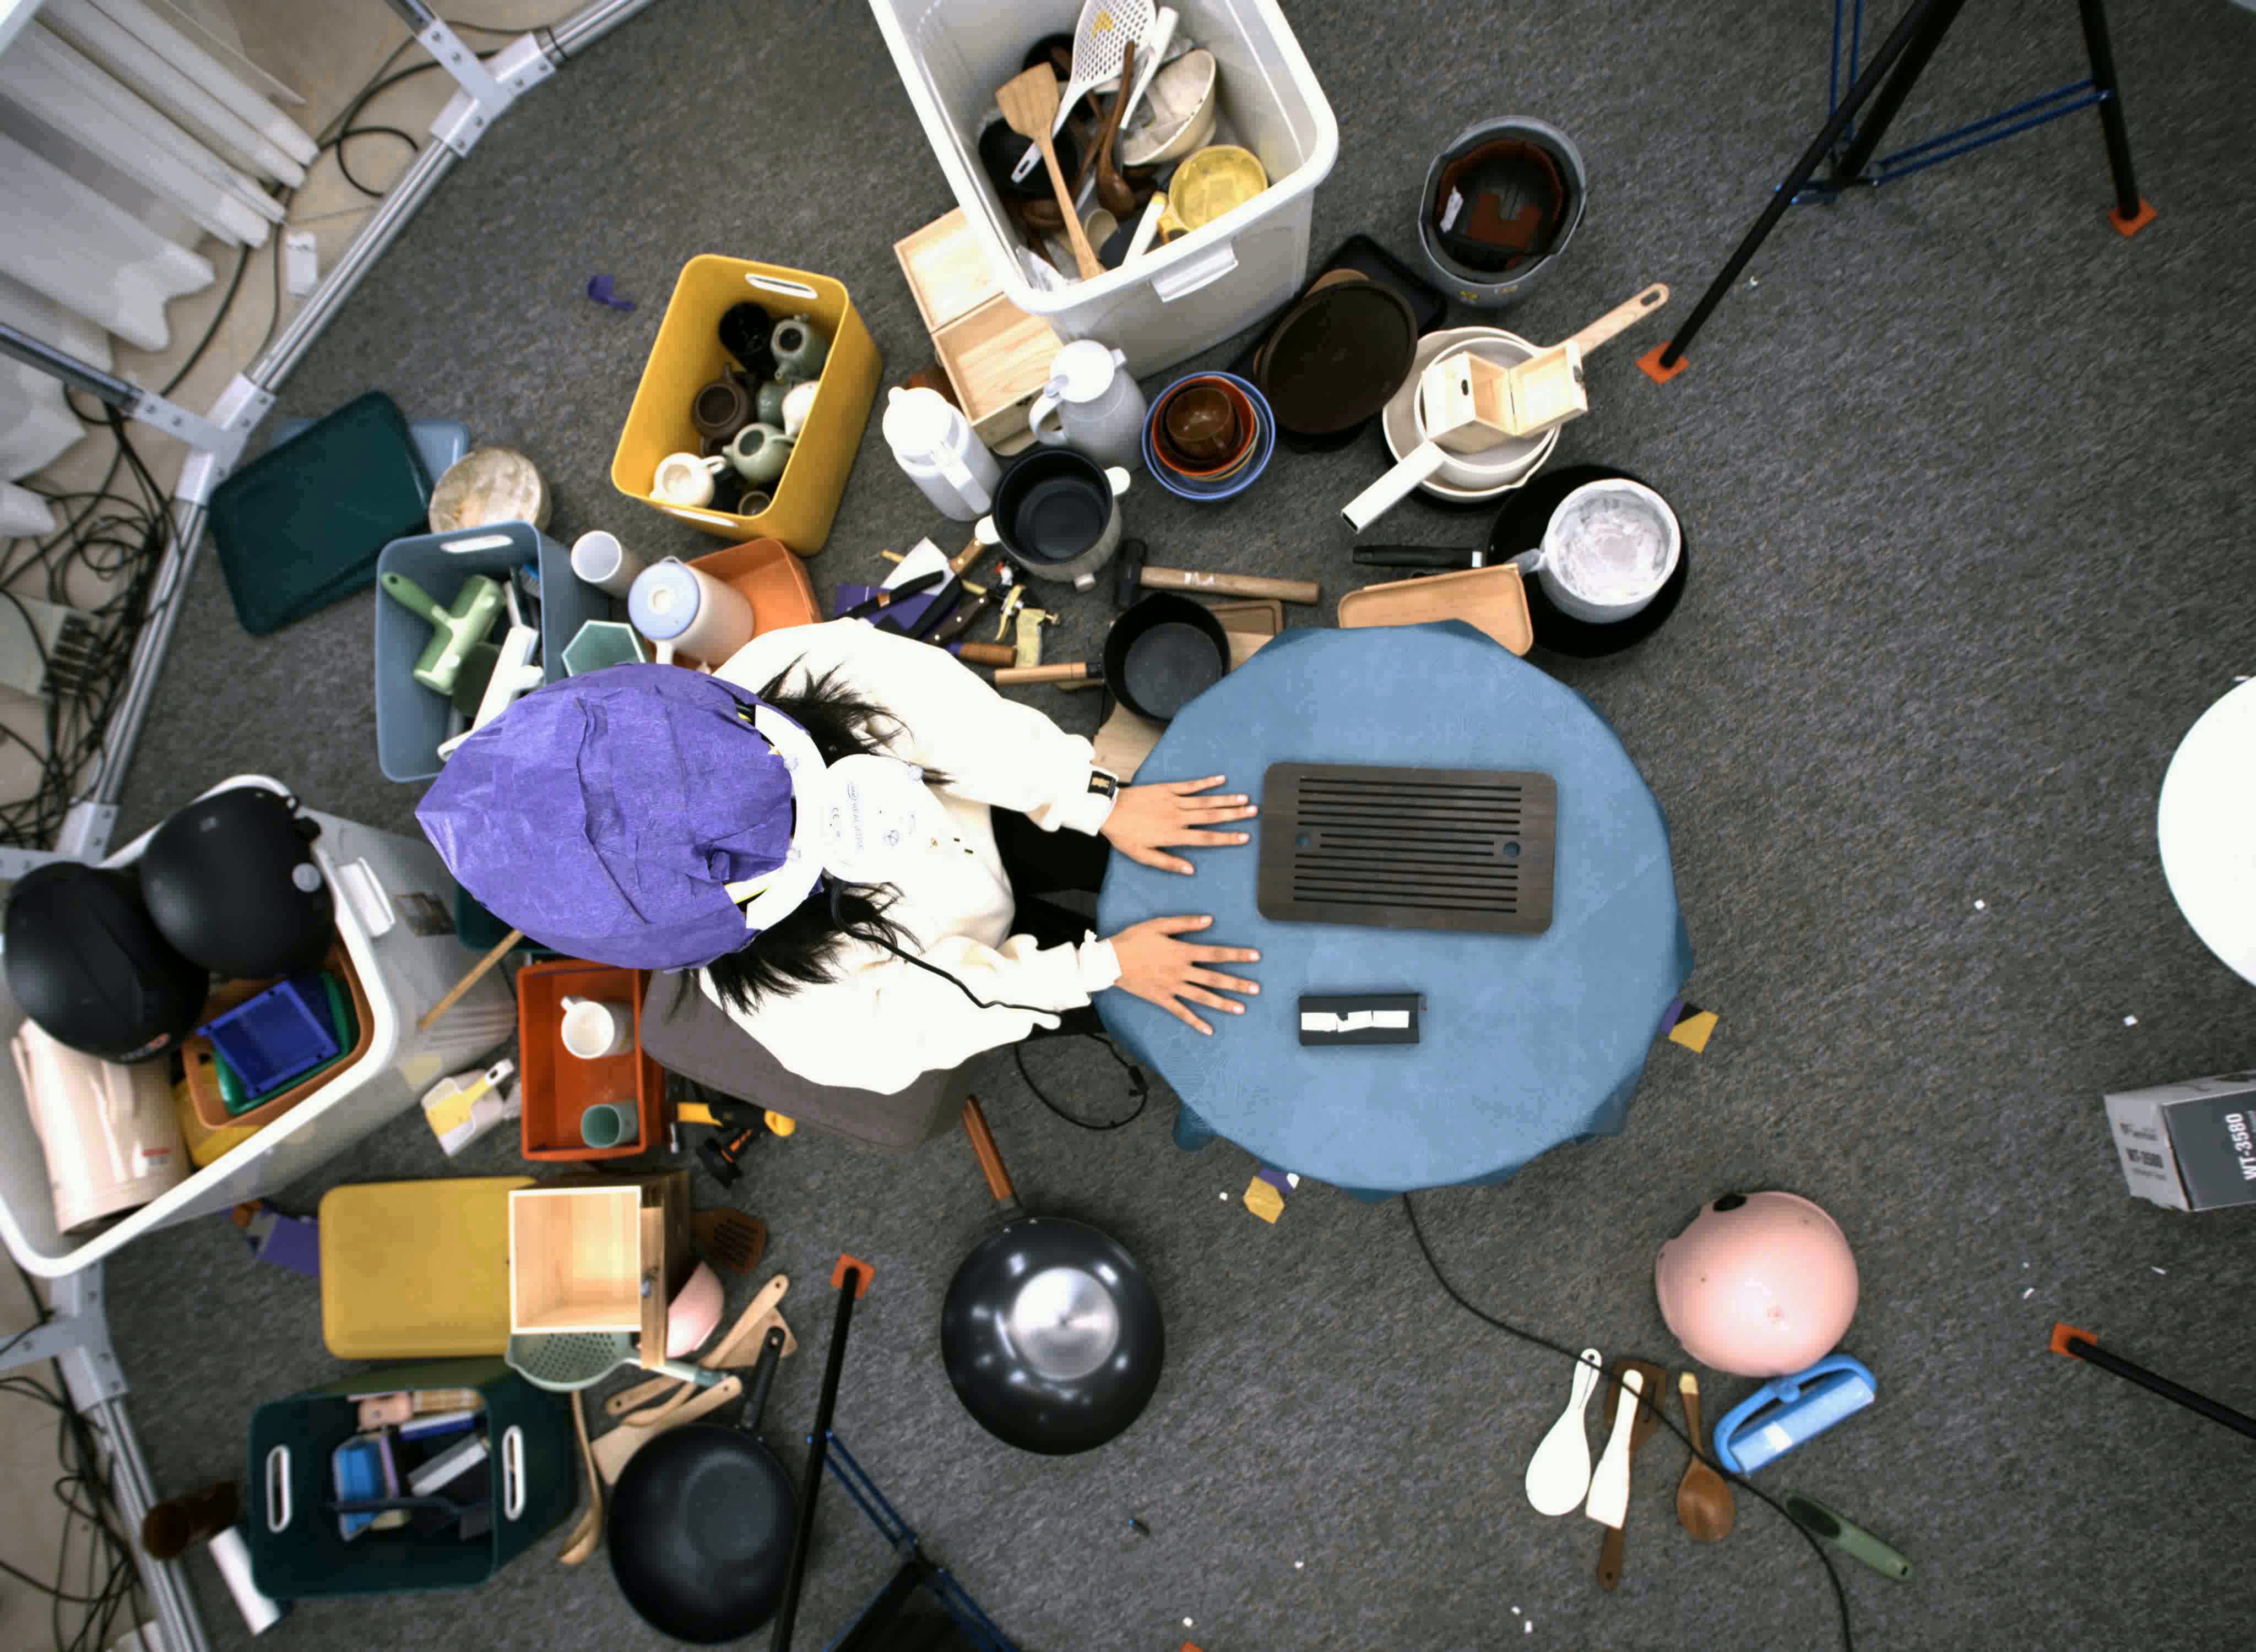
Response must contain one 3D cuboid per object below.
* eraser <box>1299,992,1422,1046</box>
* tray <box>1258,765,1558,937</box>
[{"bbox_3d":[0.242,0.200,1.445,0.126,0.030,0.053,-3,83,11],"label":"eraser"},{"bbox_3d":[0.293,0.024,1.450,0.307,0.018,0.169,2,87,11],"label":"tray"}]
